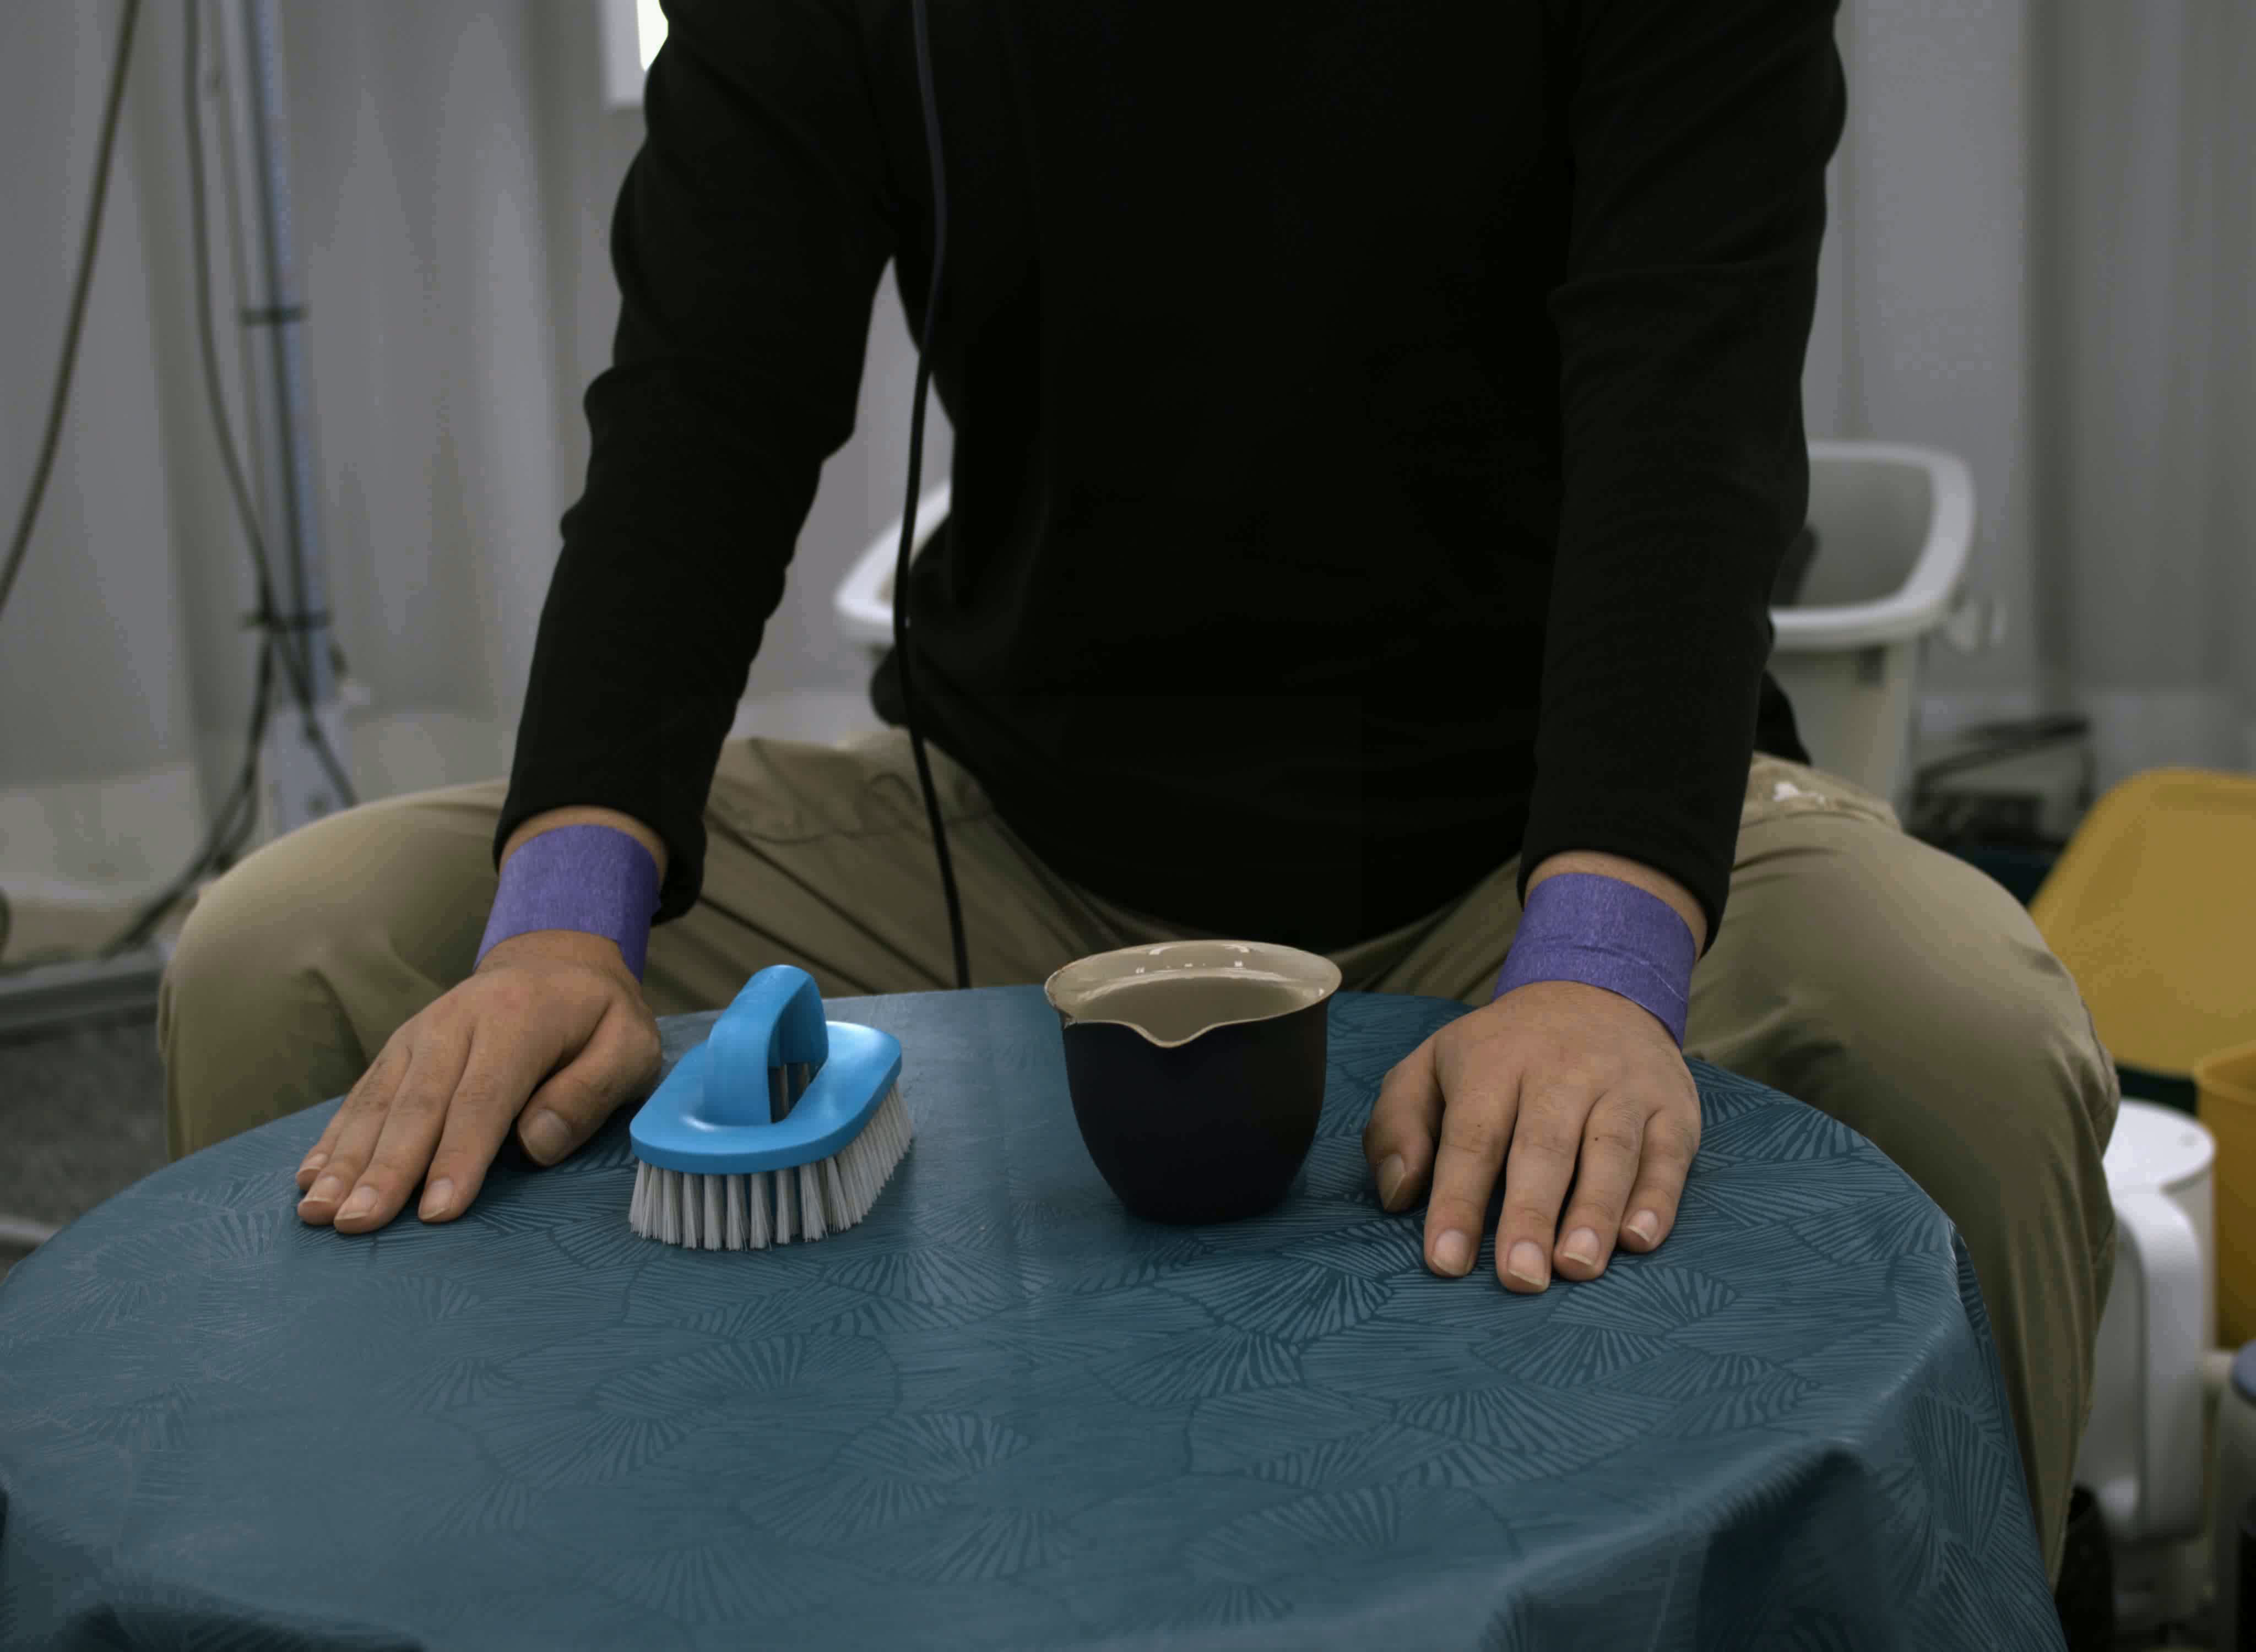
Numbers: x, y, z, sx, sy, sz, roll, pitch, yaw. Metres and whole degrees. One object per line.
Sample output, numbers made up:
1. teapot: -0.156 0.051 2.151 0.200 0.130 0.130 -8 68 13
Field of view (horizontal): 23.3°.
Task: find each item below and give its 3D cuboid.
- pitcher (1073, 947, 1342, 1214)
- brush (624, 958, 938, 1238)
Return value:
1. pitcher: 0.024 0.080 1.694 0.083 0.071 0.096 2 17 15
2. brush: -0.112 0.081 1.738 0.084 0.063 0.142 -4 13 12
